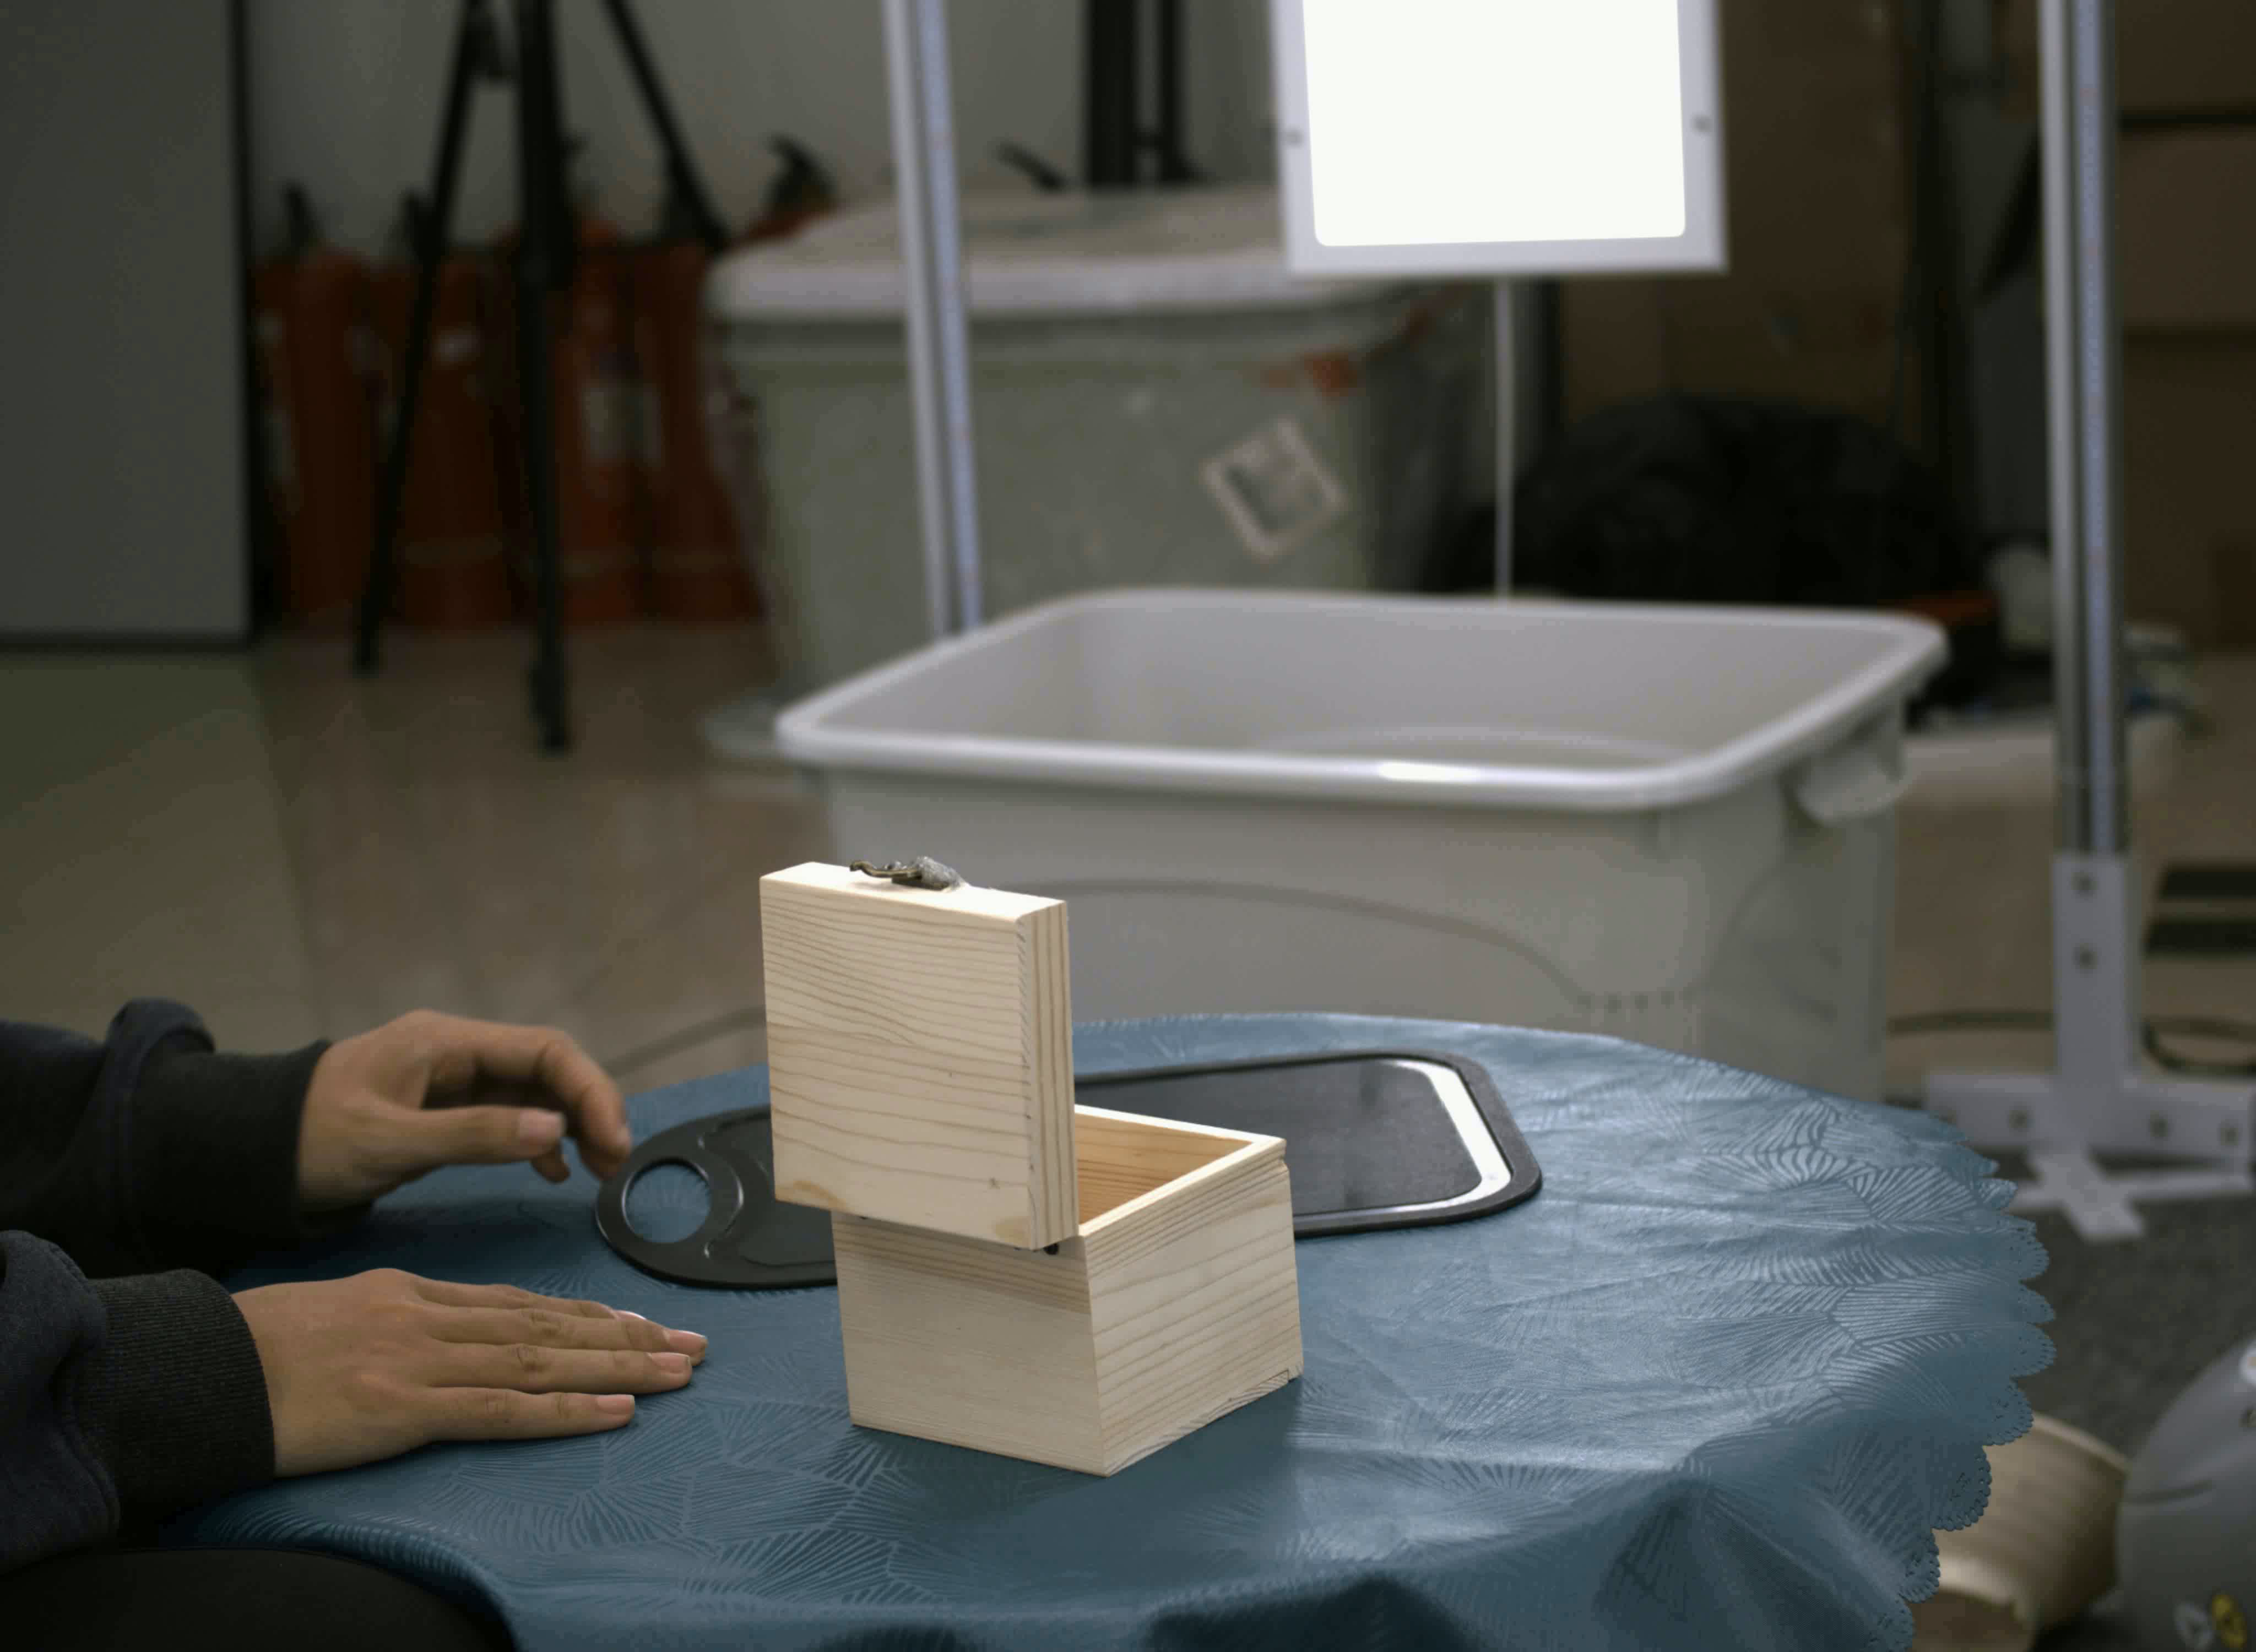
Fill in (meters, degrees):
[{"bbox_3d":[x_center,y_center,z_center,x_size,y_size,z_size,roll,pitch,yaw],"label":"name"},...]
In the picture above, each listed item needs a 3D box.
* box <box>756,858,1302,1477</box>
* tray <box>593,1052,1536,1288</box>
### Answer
[{"bbox_3d":[-0.027,0.090,1.666,0.105,0.185,0.130,7,19,38],"label":"box"},{"bbox_3d":[-0.025,0.118,1.929,0.324,0.010,0.211,-5,13,-1],"label":"tray"}]
